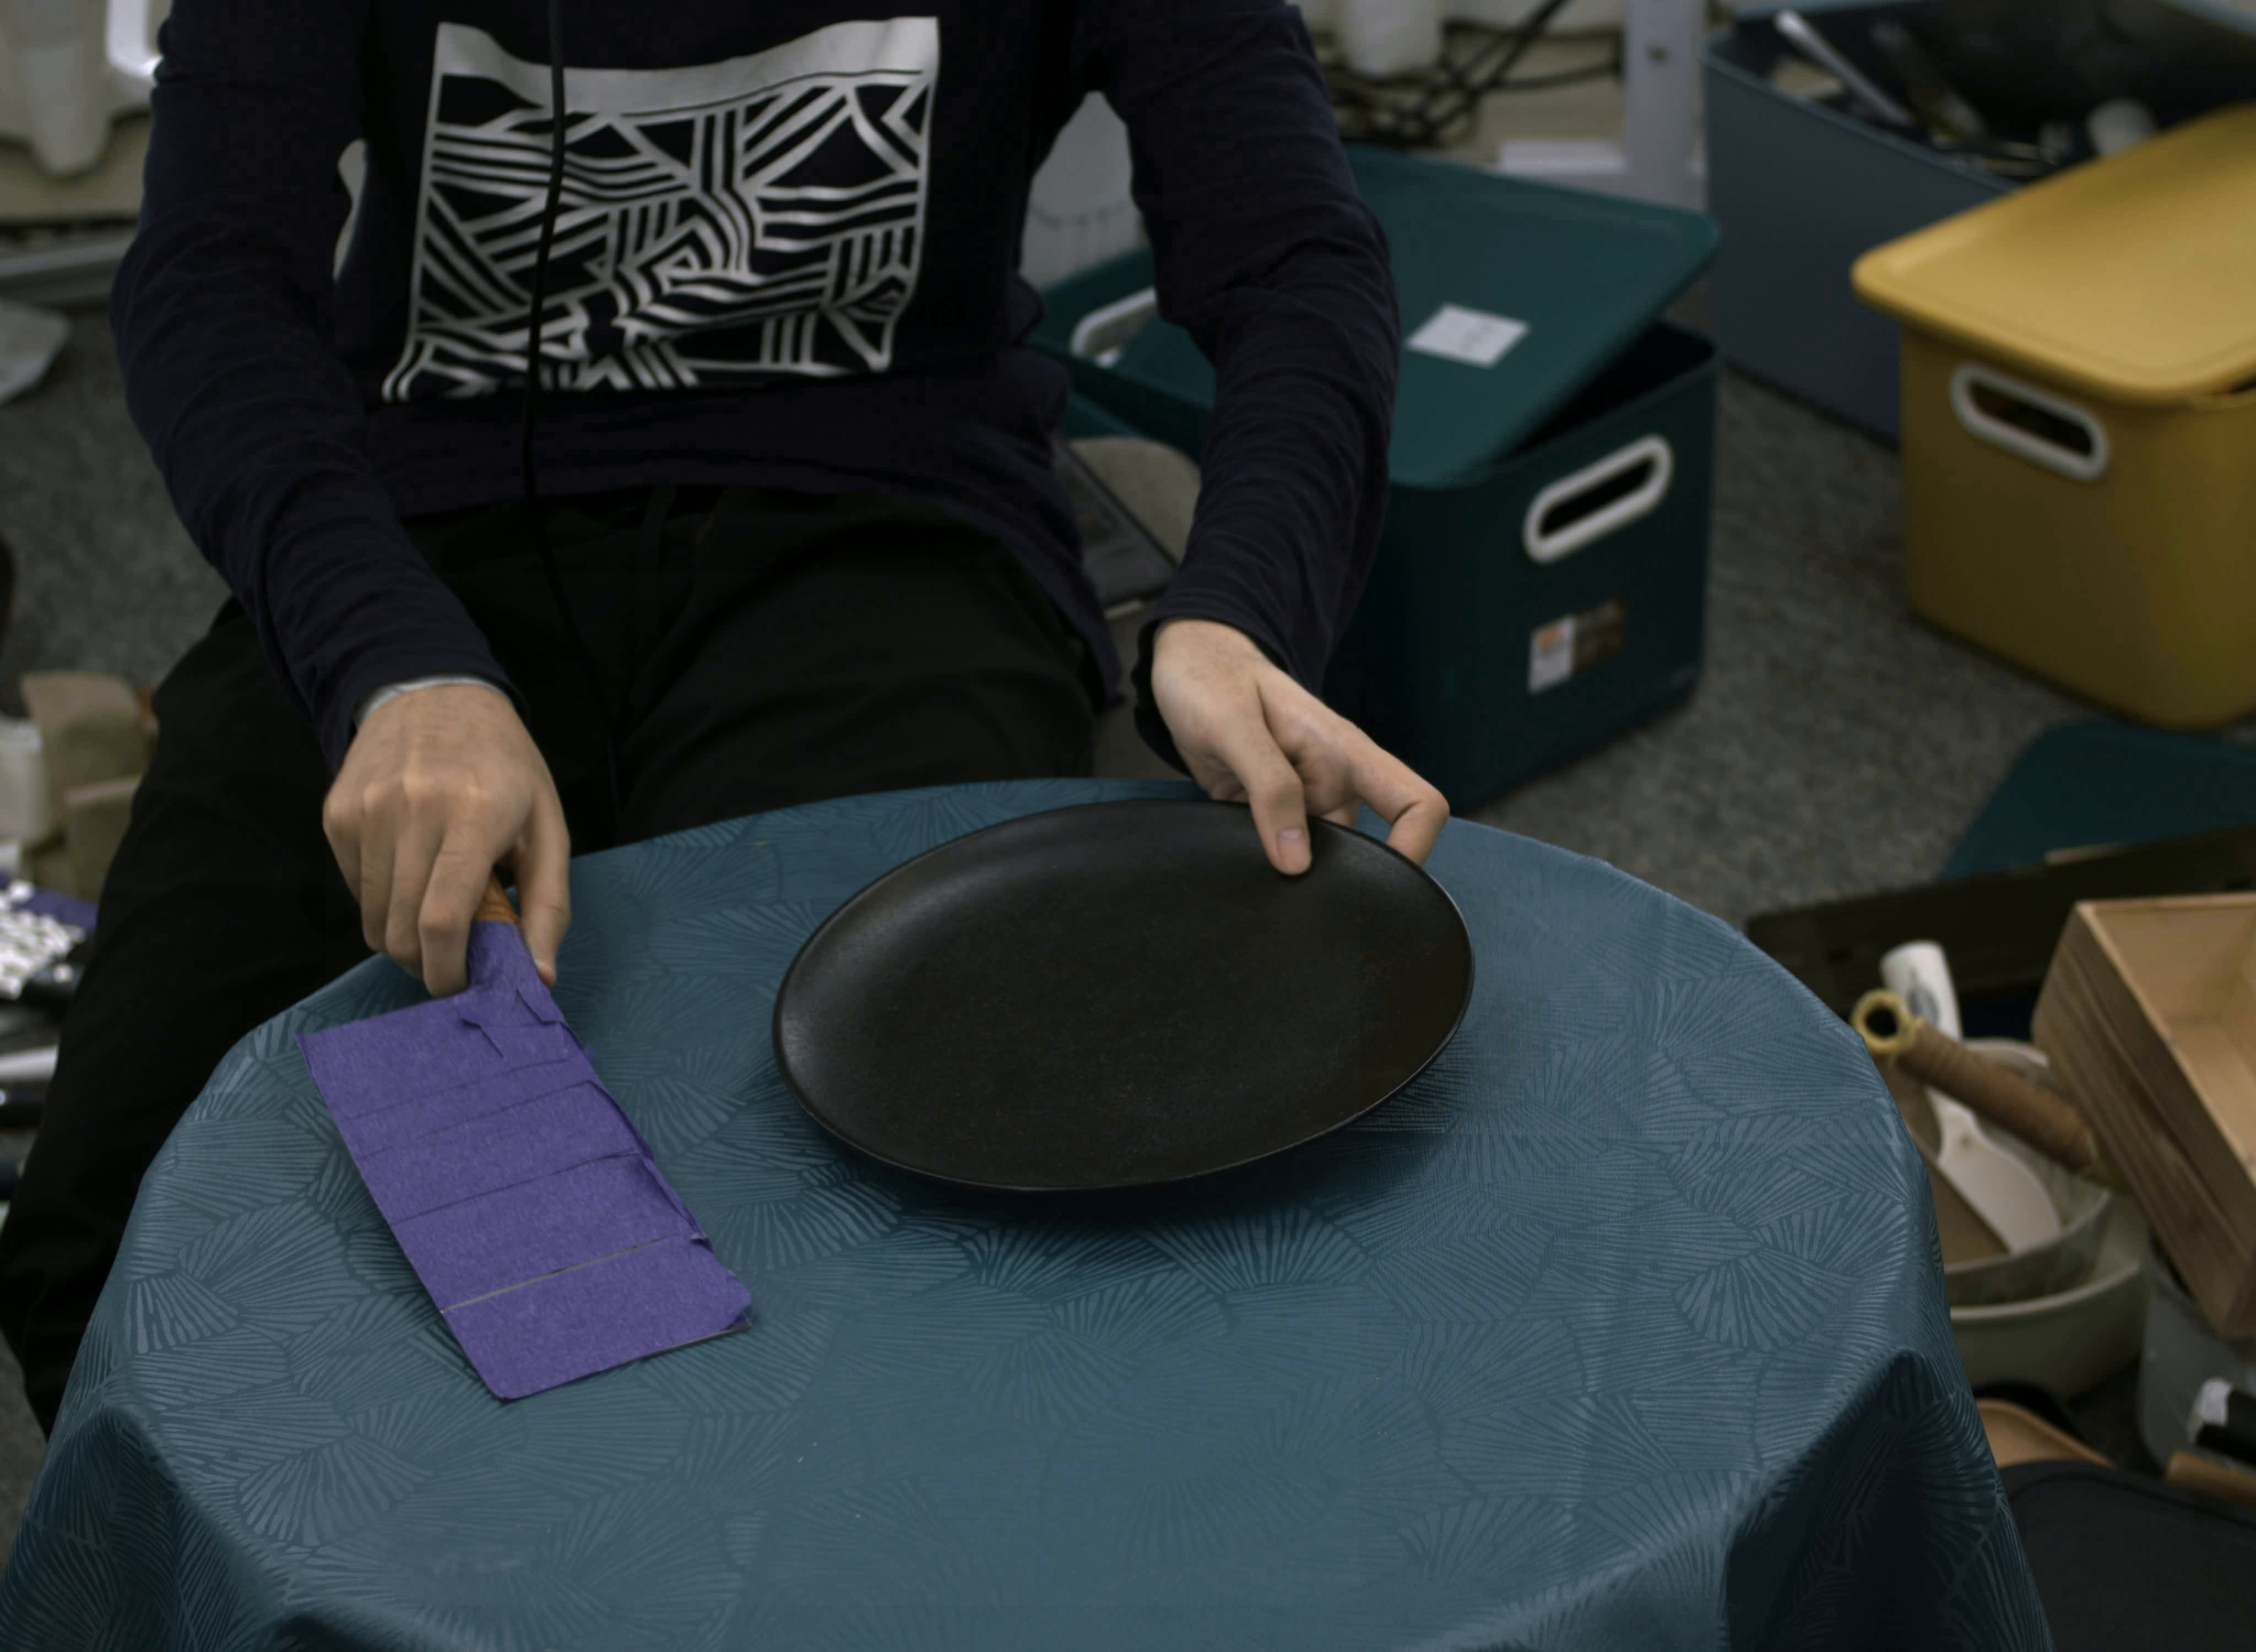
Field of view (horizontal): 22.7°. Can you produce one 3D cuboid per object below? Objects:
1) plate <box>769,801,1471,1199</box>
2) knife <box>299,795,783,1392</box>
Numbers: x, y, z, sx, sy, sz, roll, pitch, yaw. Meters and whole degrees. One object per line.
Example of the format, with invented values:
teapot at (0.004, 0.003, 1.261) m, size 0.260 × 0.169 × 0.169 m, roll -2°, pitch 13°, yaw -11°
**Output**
plate at (-0.002, 0.063, 1.934) m, size 0.243 × 0.023 × 0.248 m, roll -5°, pitch 31°, yaw 3°
knife at (-0.223, 0.086, 1.891) m, size 0.104 × 0.032 × 0.318 m, roll -14°, pitch 35°, yaw -22°
